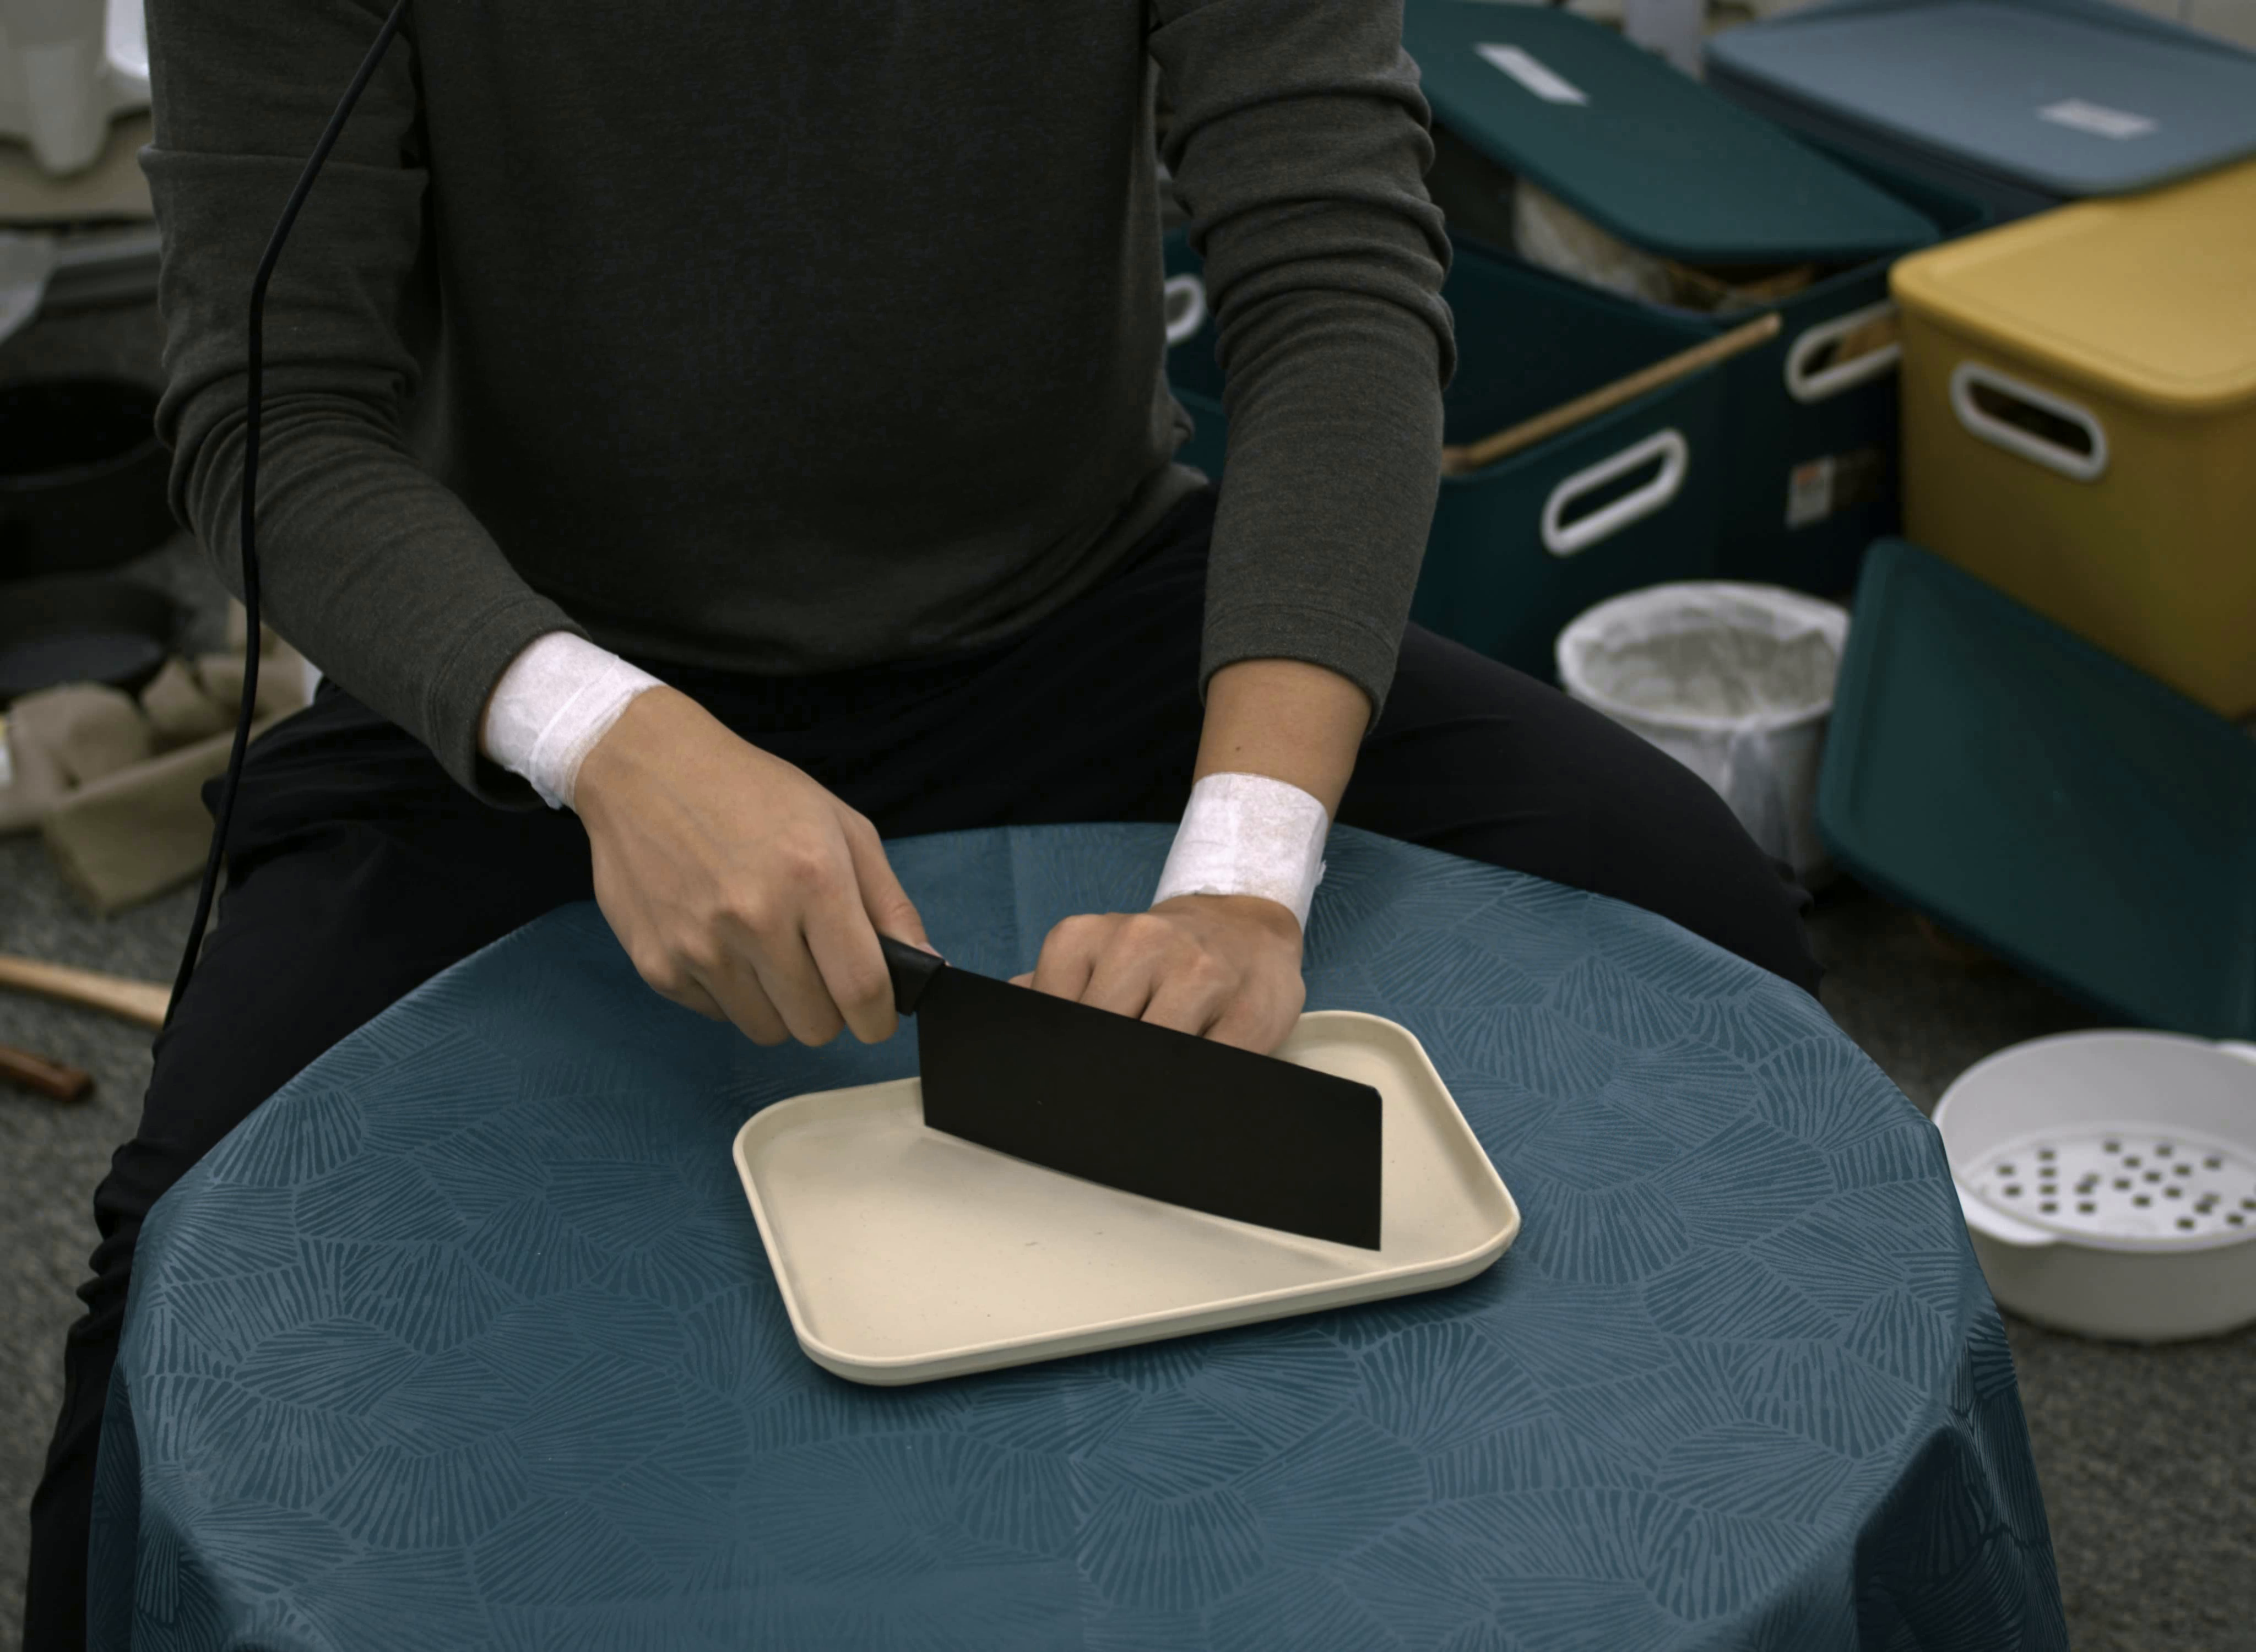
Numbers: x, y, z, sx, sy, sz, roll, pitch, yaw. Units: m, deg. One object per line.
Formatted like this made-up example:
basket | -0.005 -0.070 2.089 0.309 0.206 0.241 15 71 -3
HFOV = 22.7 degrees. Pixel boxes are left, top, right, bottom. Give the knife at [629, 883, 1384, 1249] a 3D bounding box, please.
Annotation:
knife | -0.043 0.076 1.862 0.301 0.080 0.021 19 31 28

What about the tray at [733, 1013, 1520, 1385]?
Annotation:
tray | -0.002 0.122 1.842 0.239 0.017 0.173 -9 27 -12
